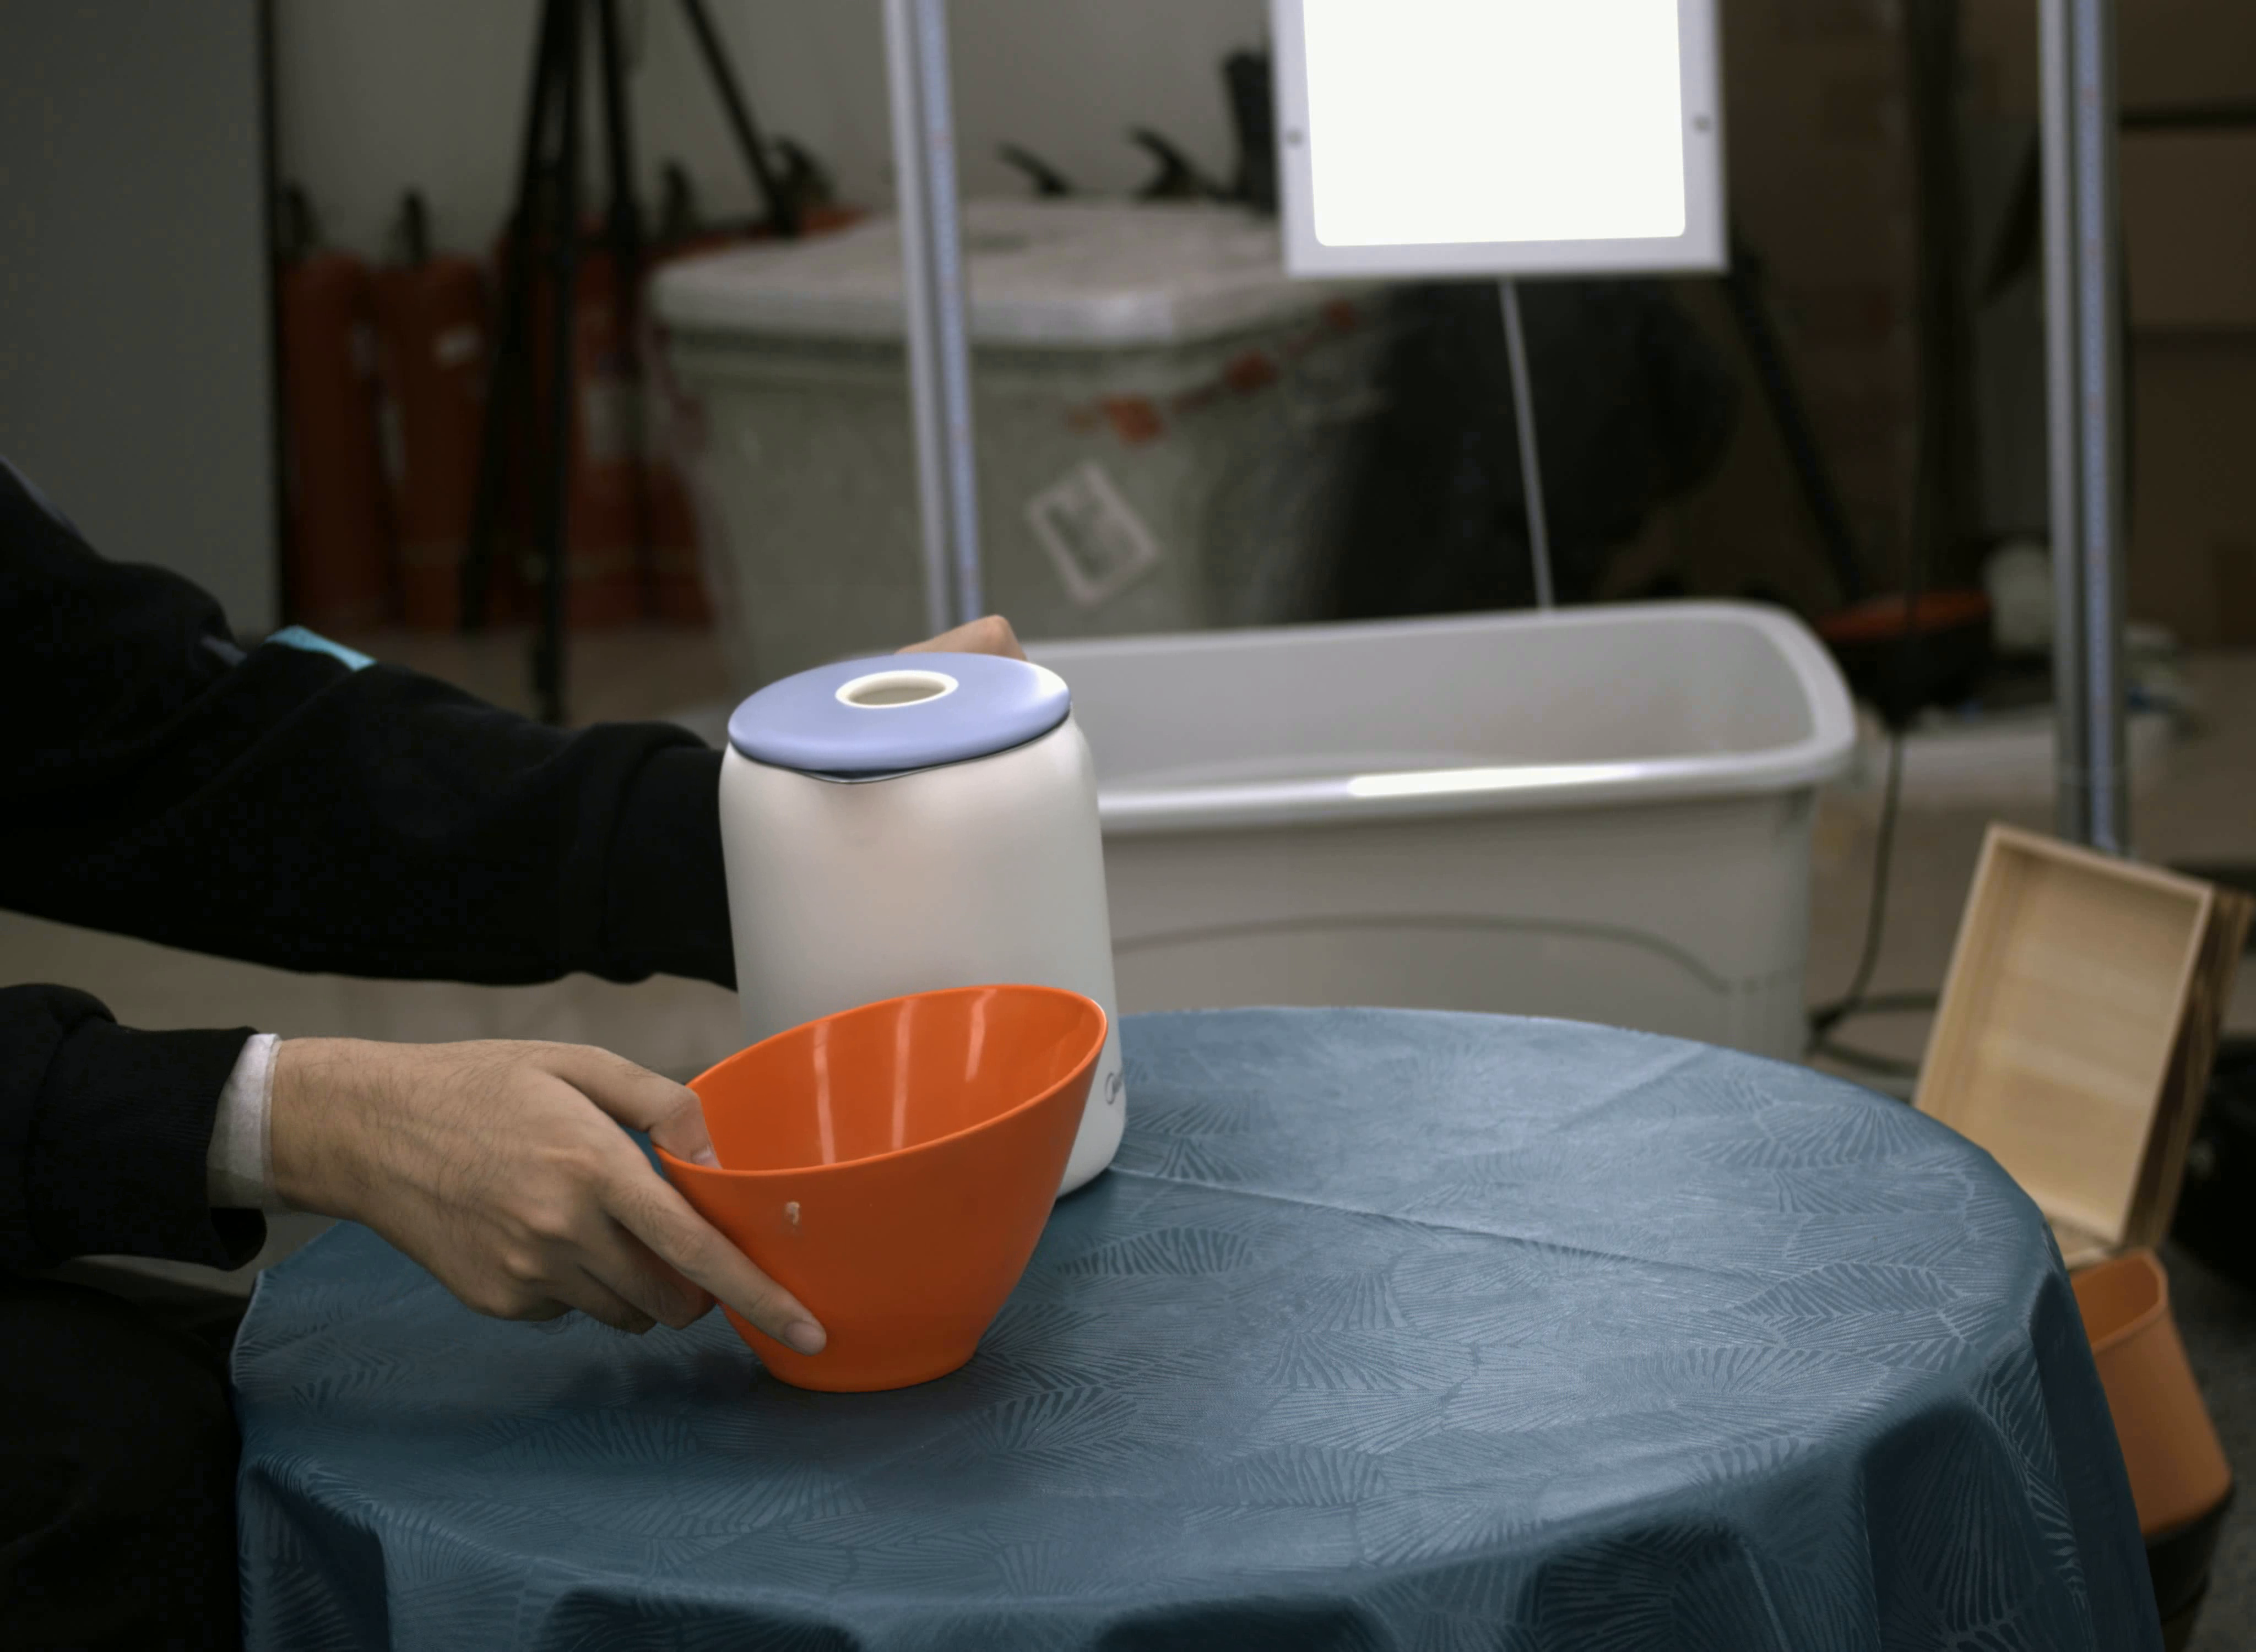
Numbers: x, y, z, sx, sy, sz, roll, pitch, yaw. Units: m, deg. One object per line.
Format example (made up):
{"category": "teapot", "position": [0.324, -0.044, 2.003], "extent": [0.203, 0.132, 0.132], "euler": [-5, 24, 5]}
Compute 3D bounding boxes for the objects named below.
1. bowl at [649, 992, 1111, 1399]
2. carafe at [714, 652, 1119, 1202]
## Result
{"category": "bowl", "position": [-0.075, 0.119, 1.739], "extent": [0.147, 0.105, 0.148], "euler": [-4, 14, 0]}
{"category": "carafe", "position": [-0.069, 0.032, 1.927], "extent": [0.133, 0.183, 0.189], "euler": [-1, 16, 11]}
